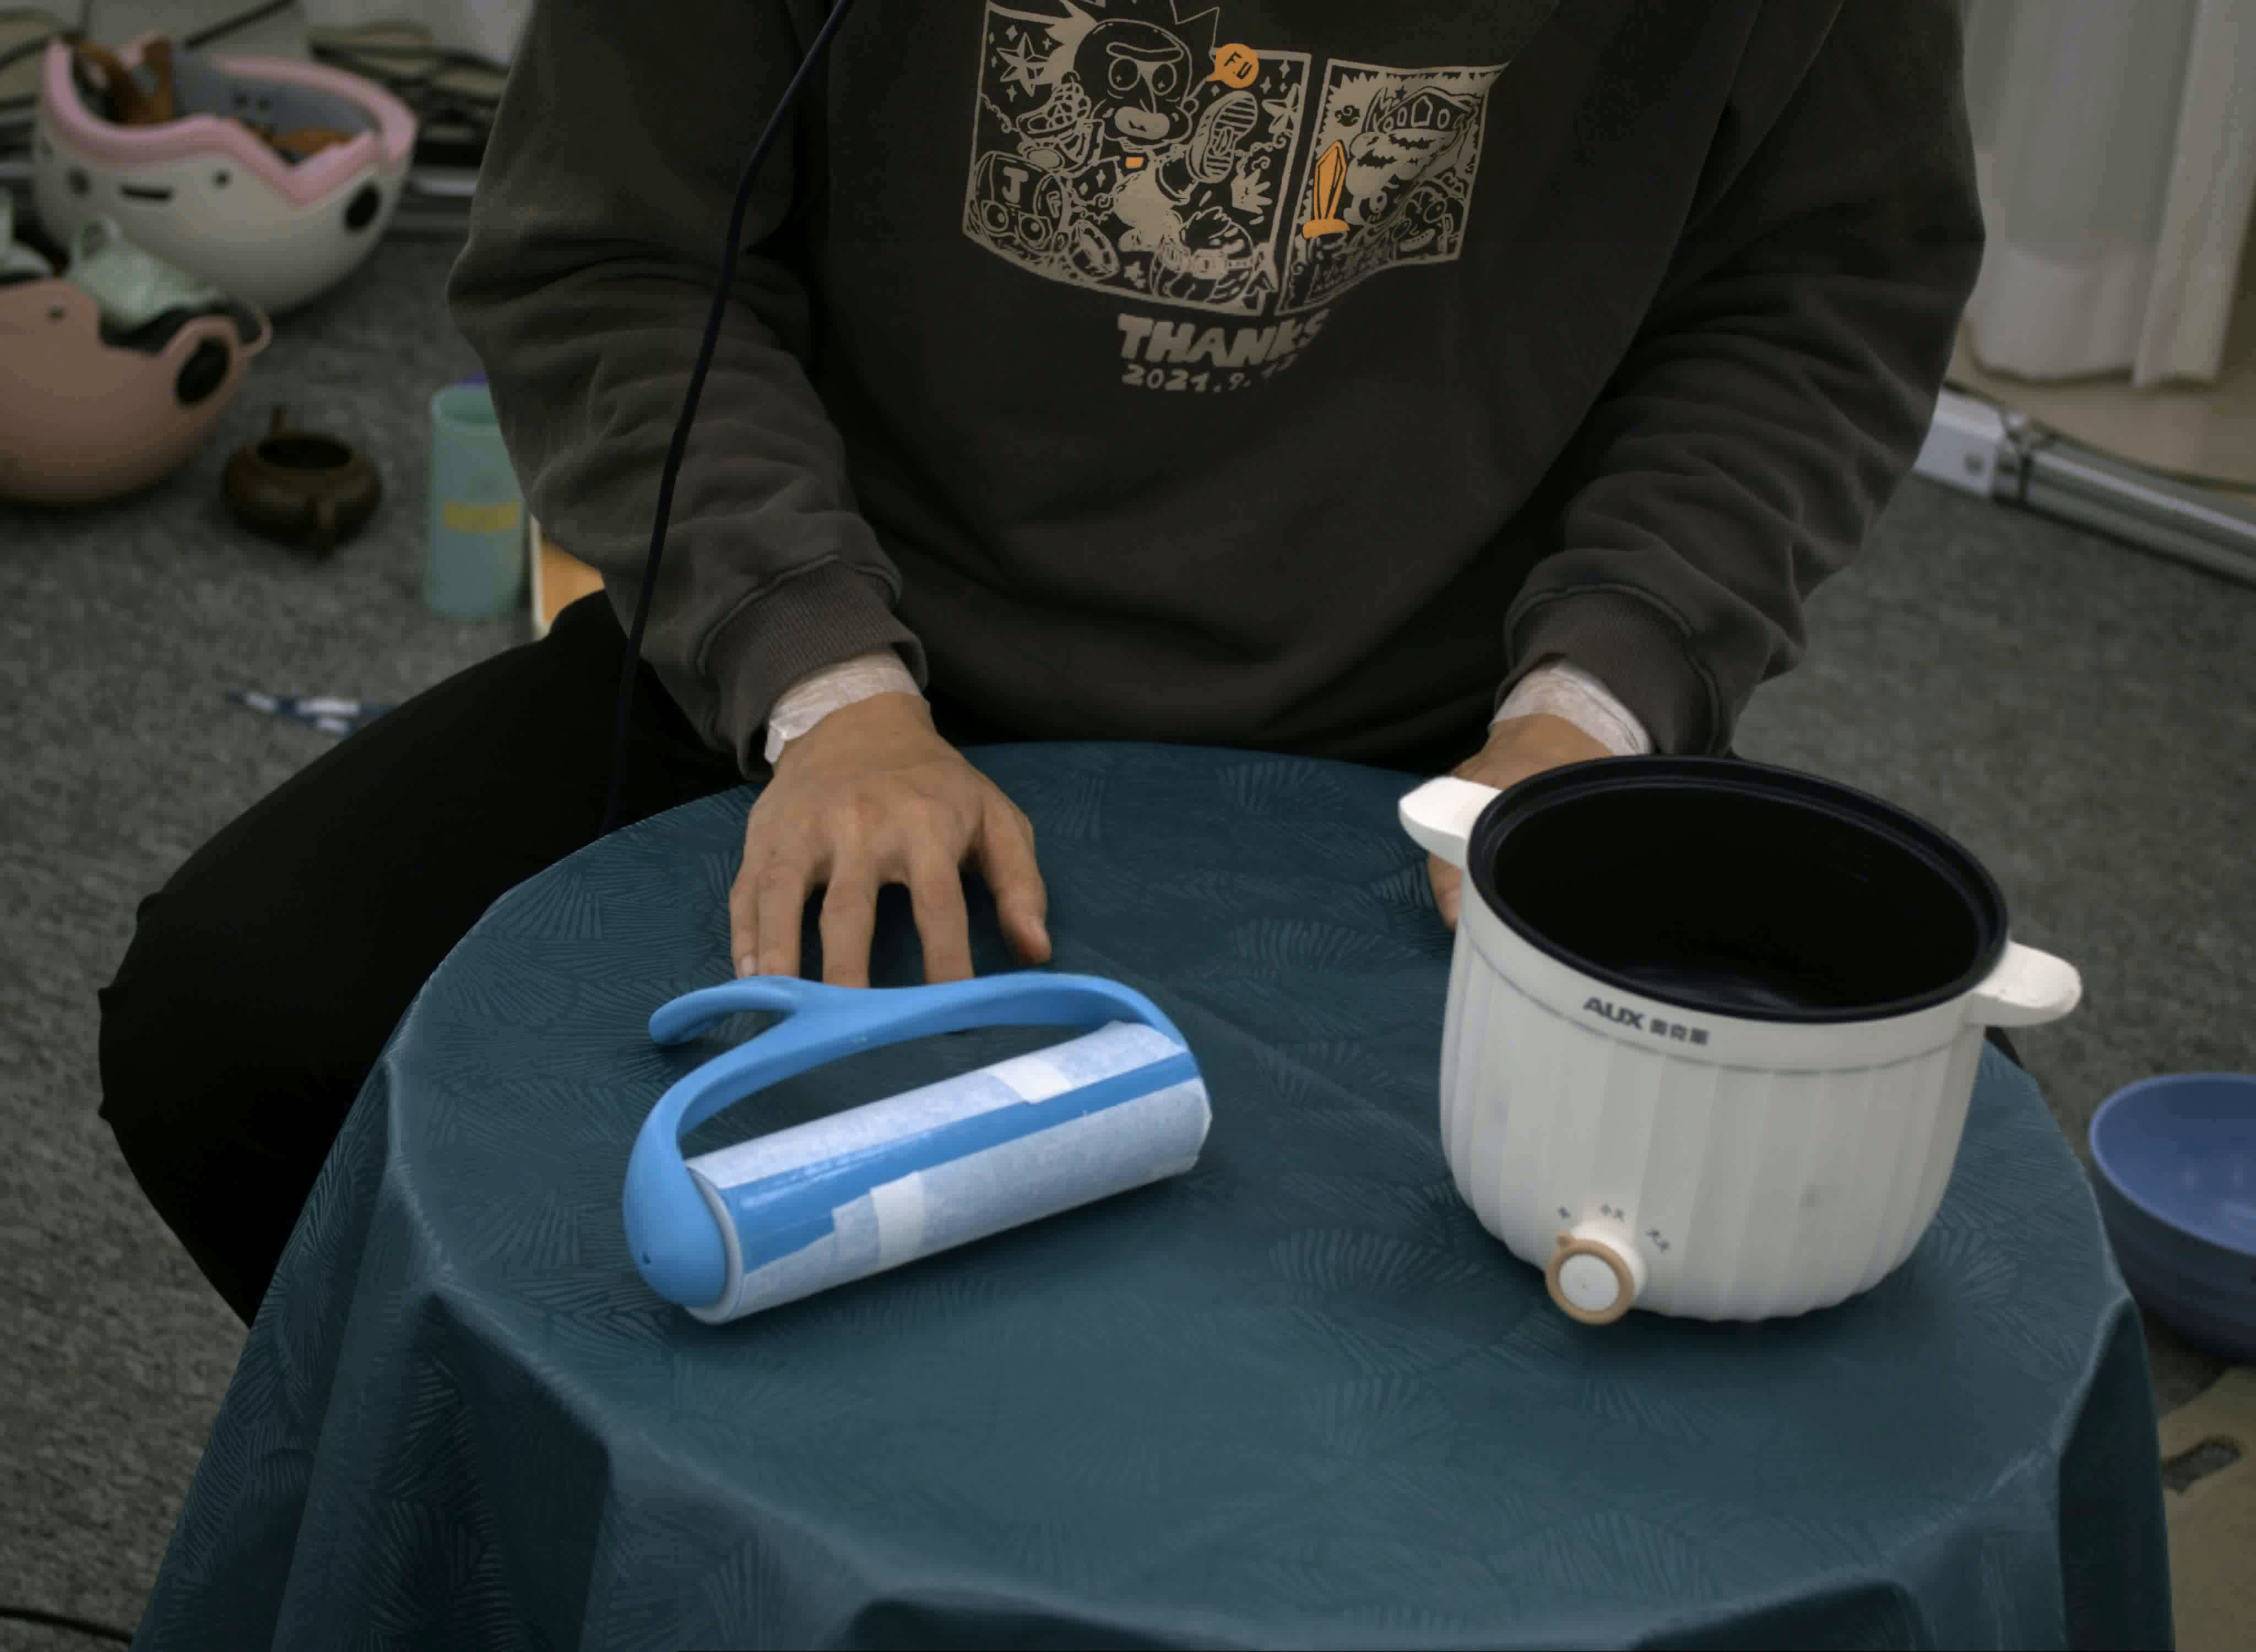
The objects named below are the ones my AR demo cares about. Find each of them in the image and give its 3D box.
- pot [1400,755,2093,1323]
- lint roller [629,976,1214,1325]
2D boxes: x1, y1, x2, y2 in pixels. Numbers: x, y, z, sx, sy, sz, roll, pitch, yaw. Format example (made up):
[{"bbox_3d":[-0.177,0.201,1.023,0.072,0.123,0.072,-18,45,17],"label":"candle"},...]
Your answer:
[{"bbox_3d":[0.195,0.078,1.784,0.241,0.142,0.190,15,24,20],"label":"pot"},{"bbox_3d":[-0.102,0.087,1.789,0.228,0.068,0.182,-18,36,-38],"label":"lint roller"}]
